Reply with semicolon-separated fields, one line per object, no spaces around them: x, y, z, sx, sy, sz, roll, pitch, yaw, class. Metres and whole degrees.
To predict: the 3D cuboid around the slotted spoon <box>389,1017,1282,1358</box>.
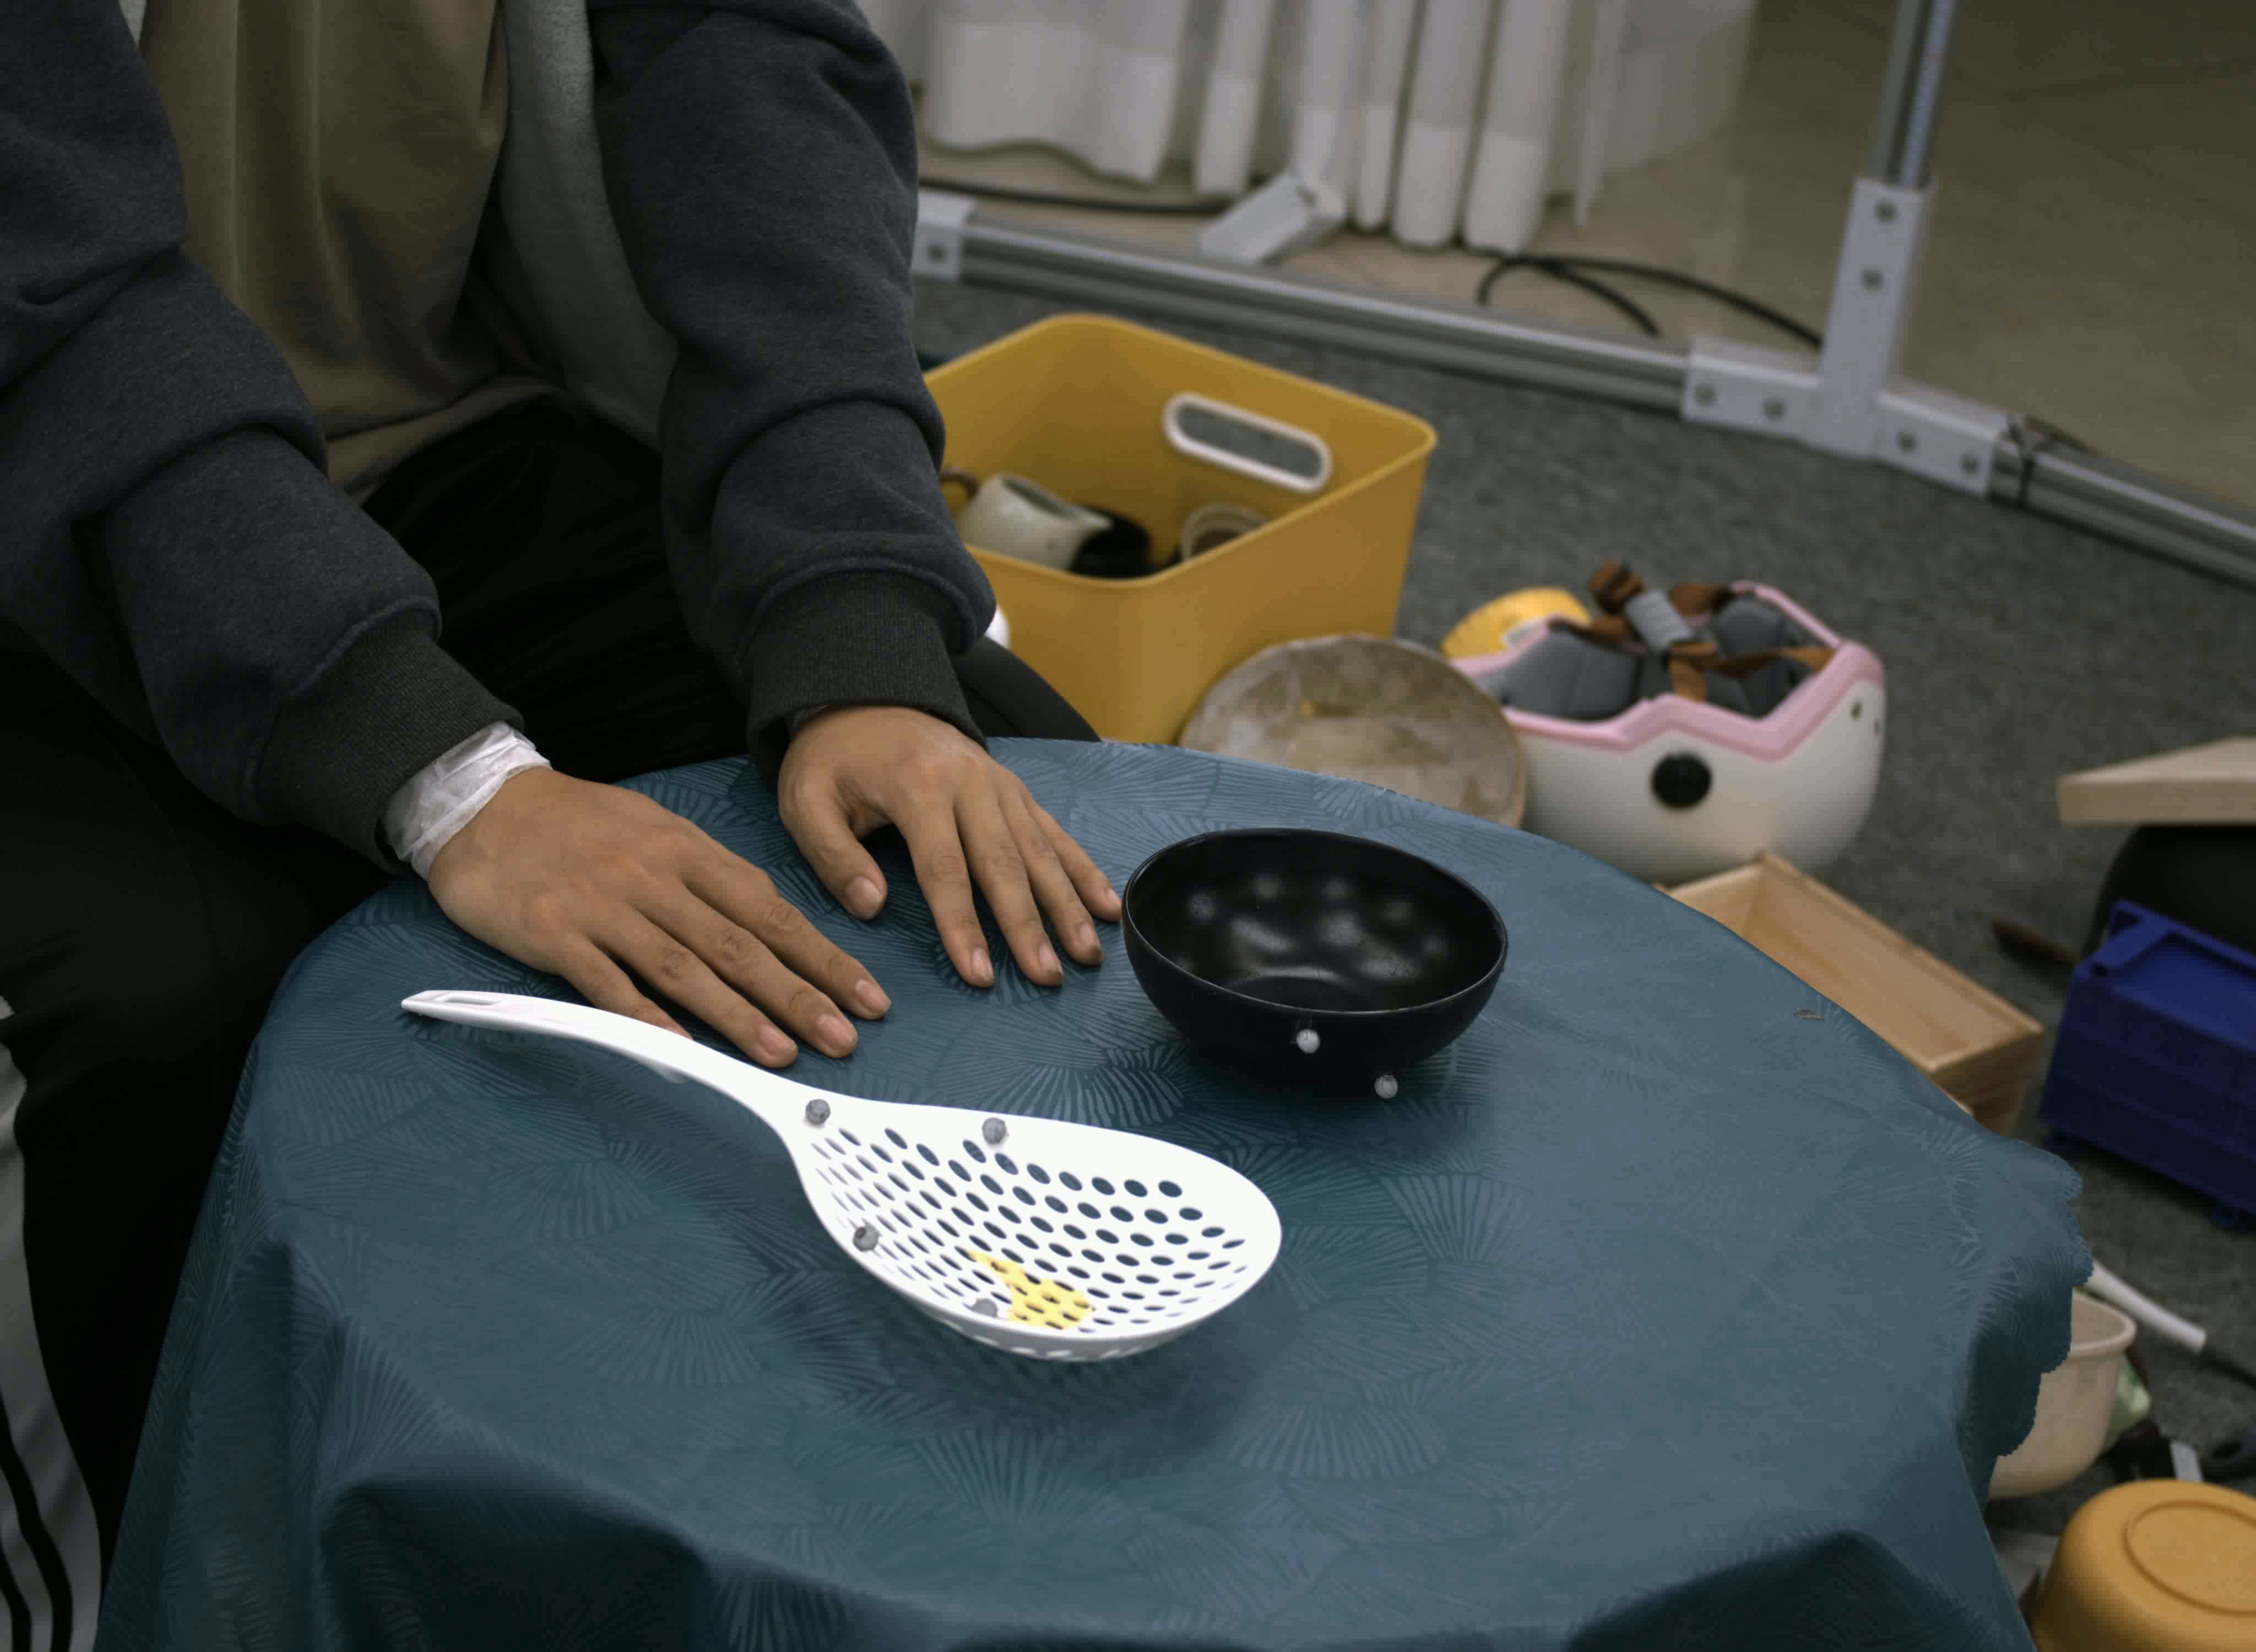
-0.109;0.106;1.769;0.350;0.050;0.136;22;34;30;slotted spoon
